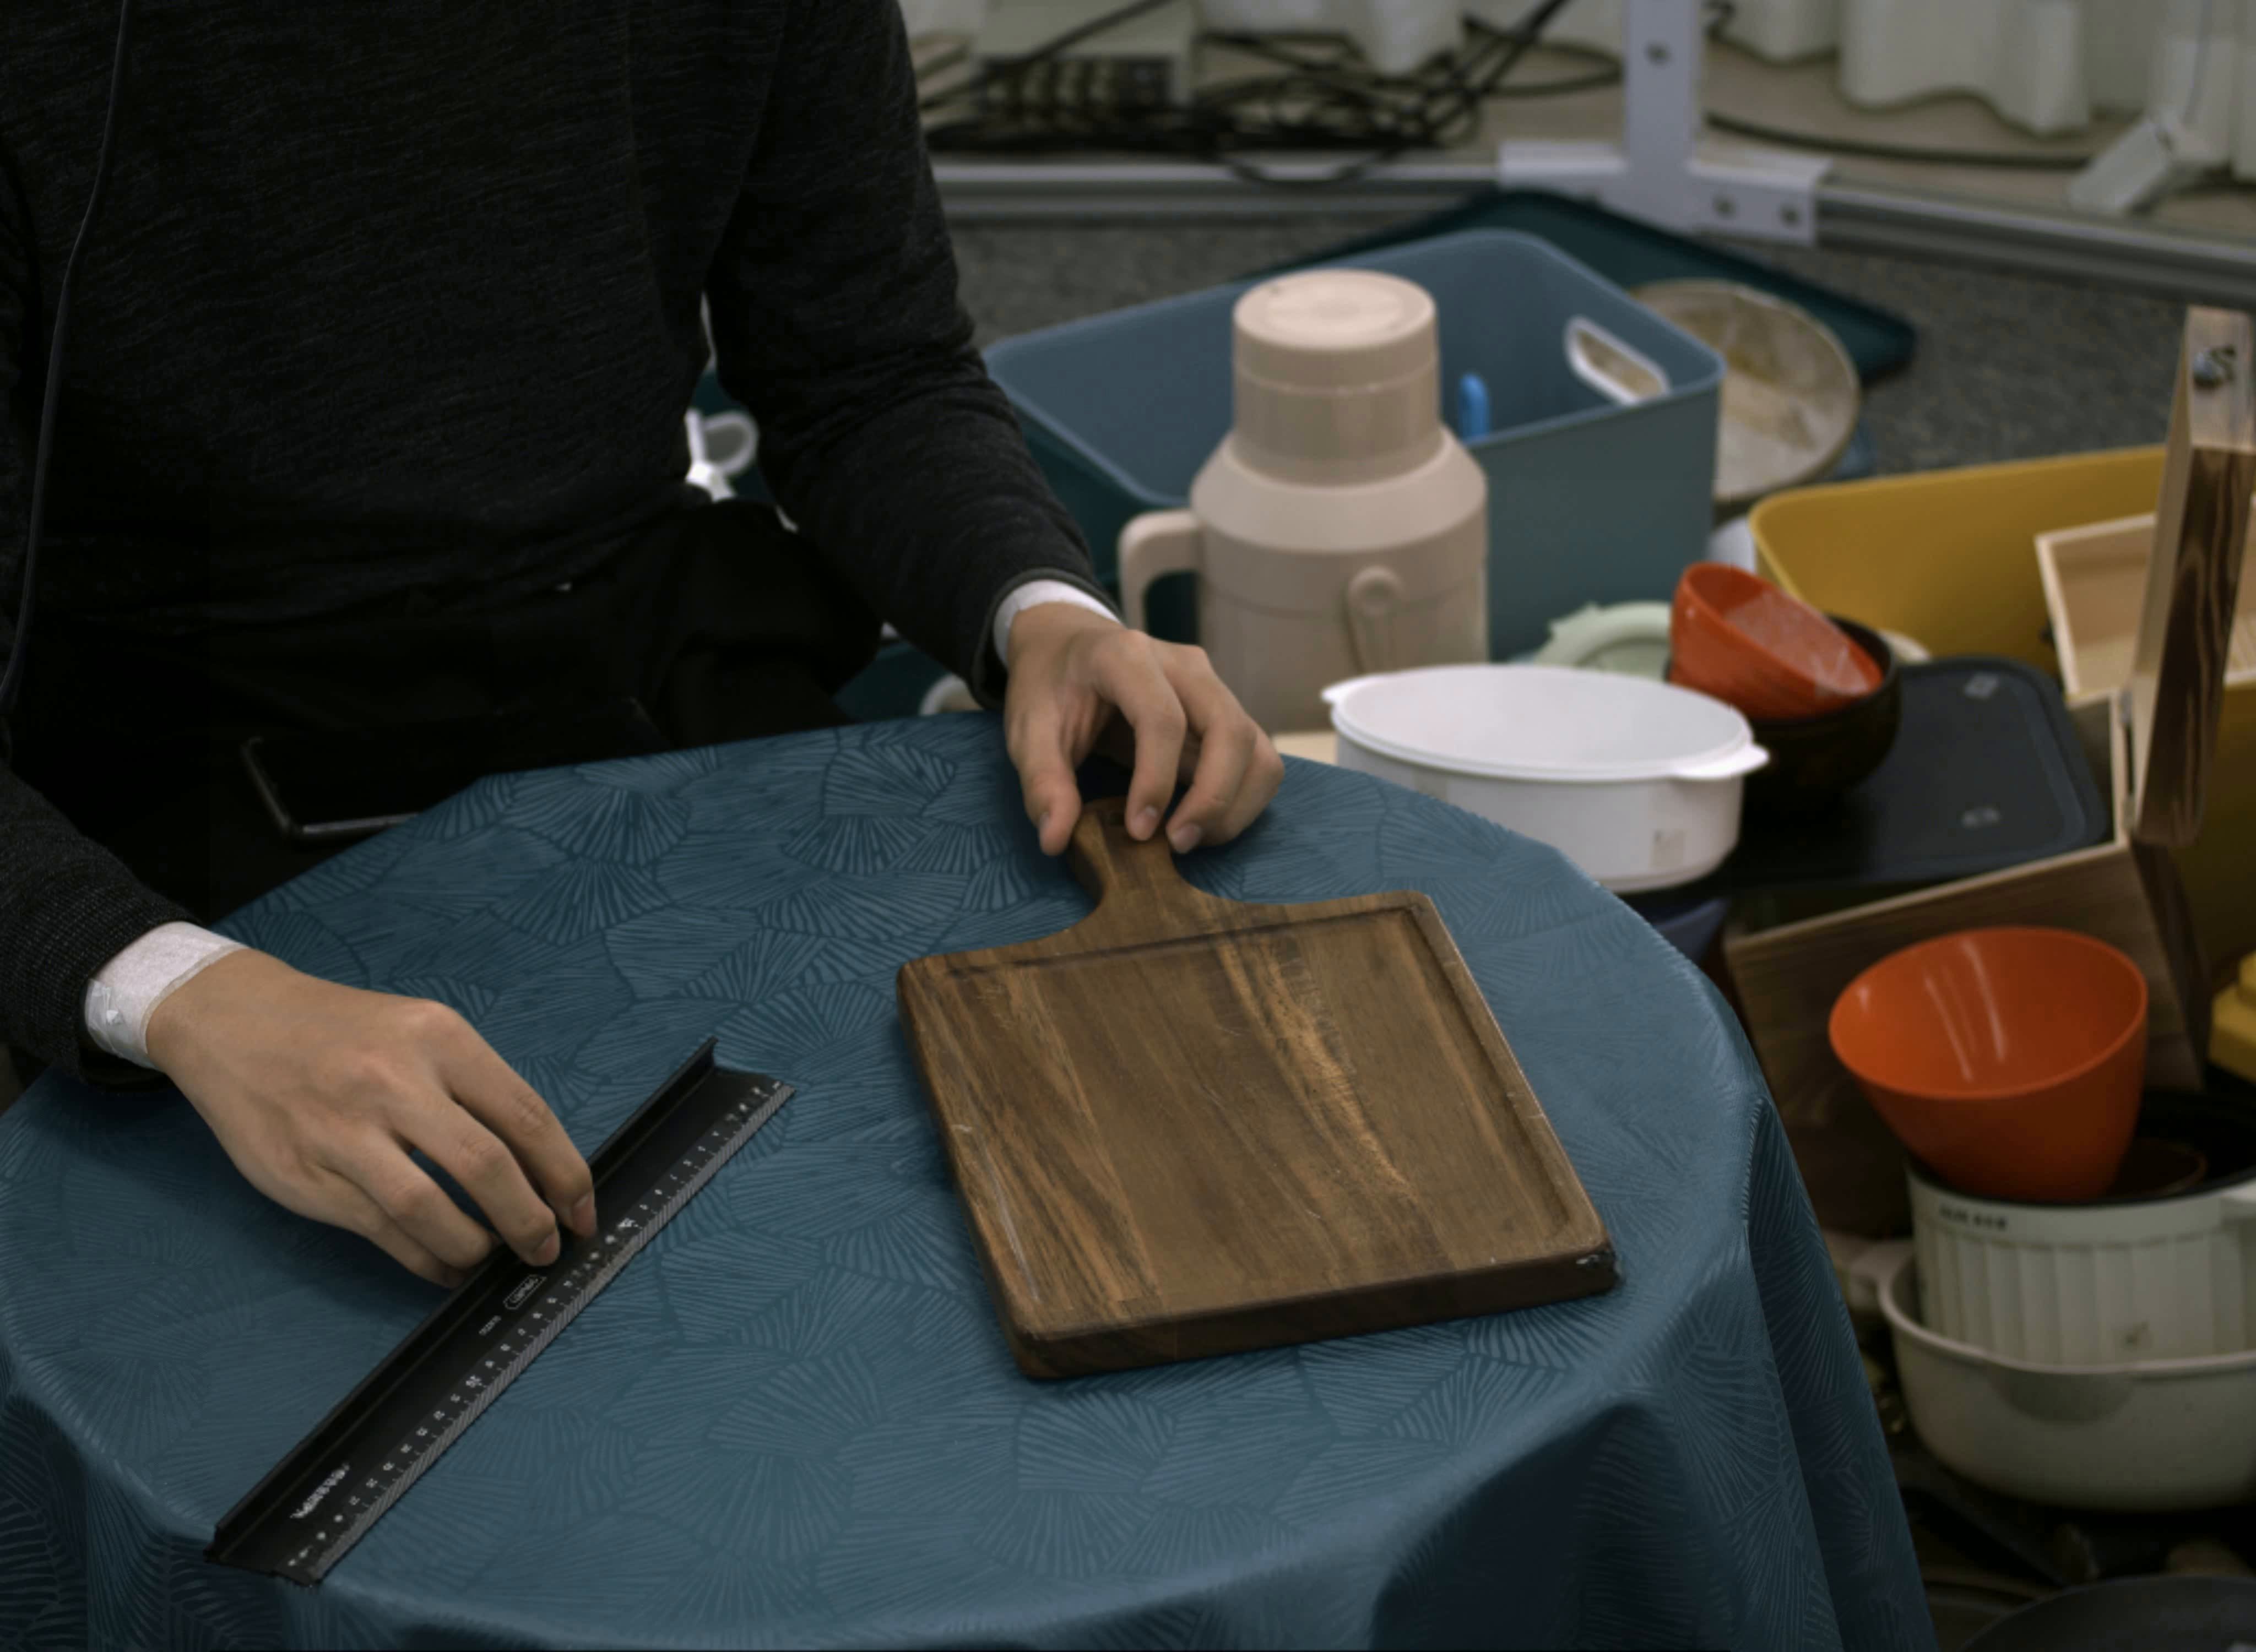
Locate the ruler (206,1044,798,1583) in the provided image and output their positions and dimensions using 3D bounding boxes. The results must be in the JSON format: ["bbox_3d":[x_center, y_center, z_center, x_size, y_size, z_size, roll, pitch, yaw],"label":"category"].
[{"bbox_3d":[-0.195,0.151,1.807,0.039,0.017,0.318,12,31,22],"label":"ruler"}]

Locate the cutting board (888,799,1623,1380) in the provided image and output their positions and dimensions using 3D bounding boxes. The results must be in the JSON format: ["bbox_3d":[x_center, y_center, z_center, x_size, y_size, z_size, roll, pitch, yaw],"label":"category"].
[{"bbox_3d":[0.027,0.076,1.924,0.201,0.023,0.356,-8,27,-9],"label":"cutting board"}]
